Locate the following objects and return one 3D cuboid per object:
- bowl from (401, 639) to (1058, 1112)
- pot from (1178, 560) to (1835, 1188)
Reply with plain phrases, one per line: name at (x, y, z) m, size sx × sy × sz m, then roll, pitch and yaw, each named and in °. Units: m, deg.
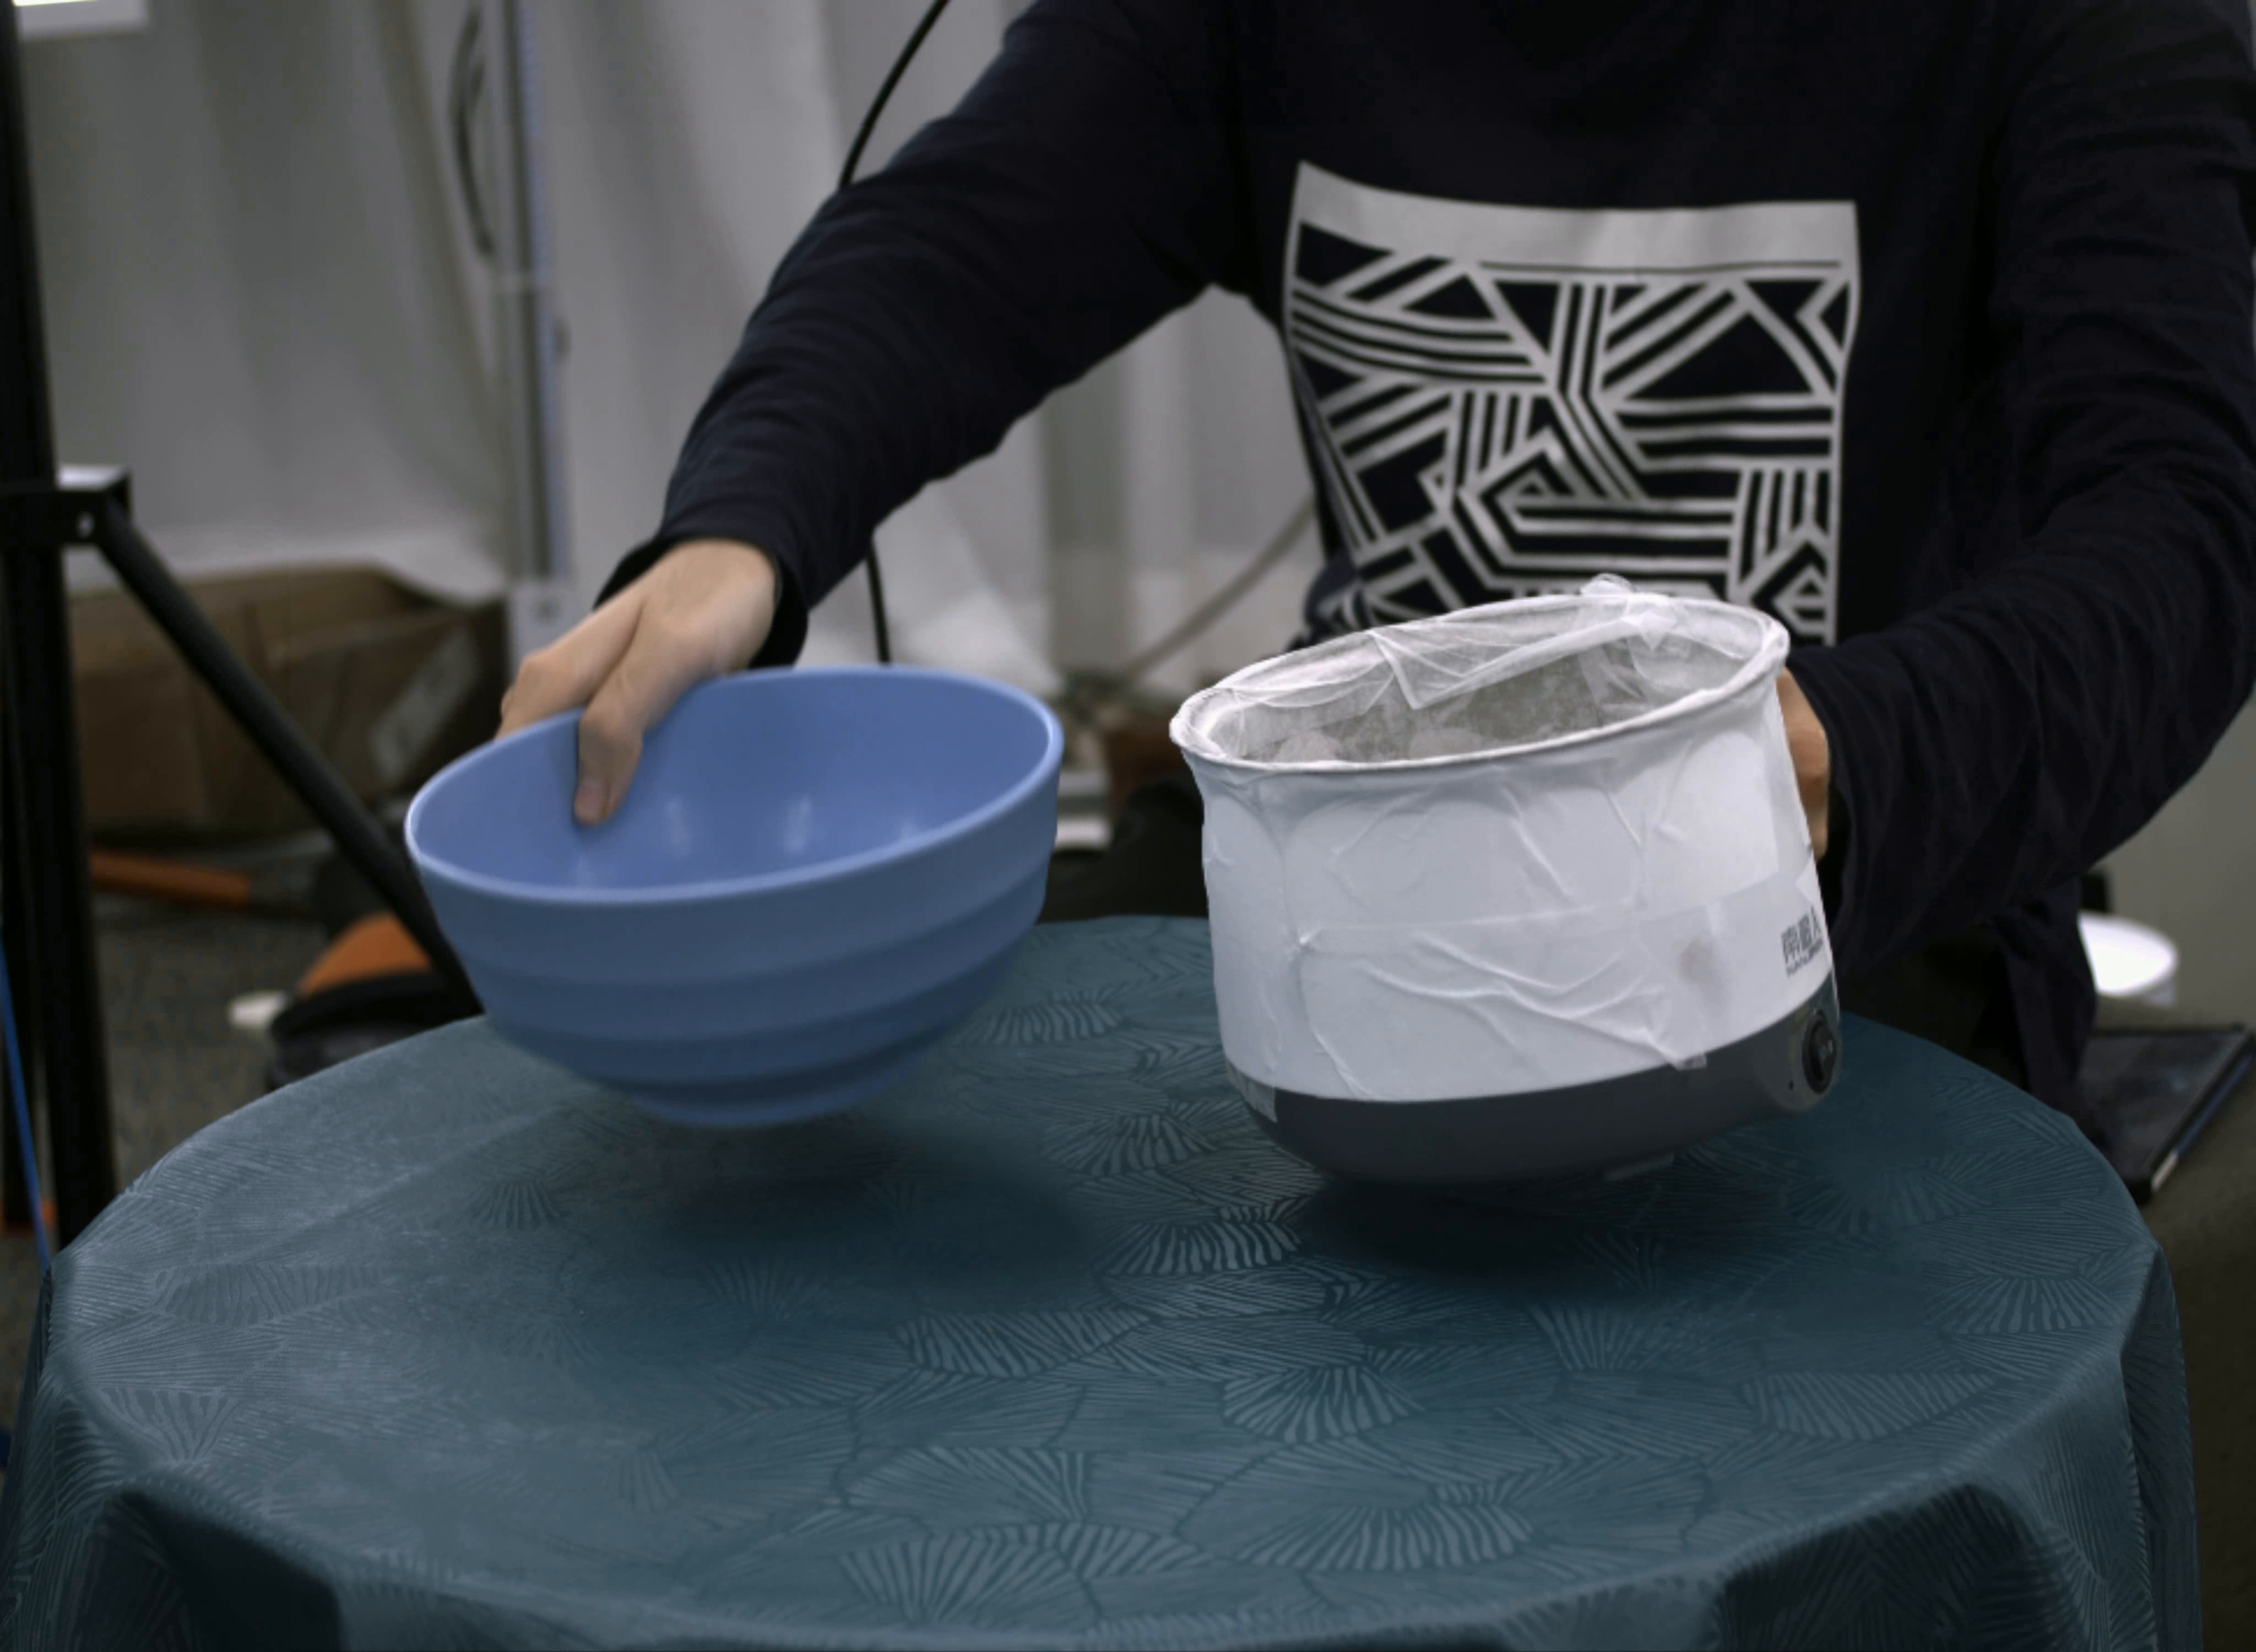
bowl at (-0.110, 0.023, 1.581) m, size 0.196 × 0.095 × 0.198 m, roll -9°, pitch 21°, yaw 2°
pot at (0.120, 0.009, 1.538) m, size 0.181 × 0.136 × 0.230 m, roll 0°, pitch 18°, yaw 26°
